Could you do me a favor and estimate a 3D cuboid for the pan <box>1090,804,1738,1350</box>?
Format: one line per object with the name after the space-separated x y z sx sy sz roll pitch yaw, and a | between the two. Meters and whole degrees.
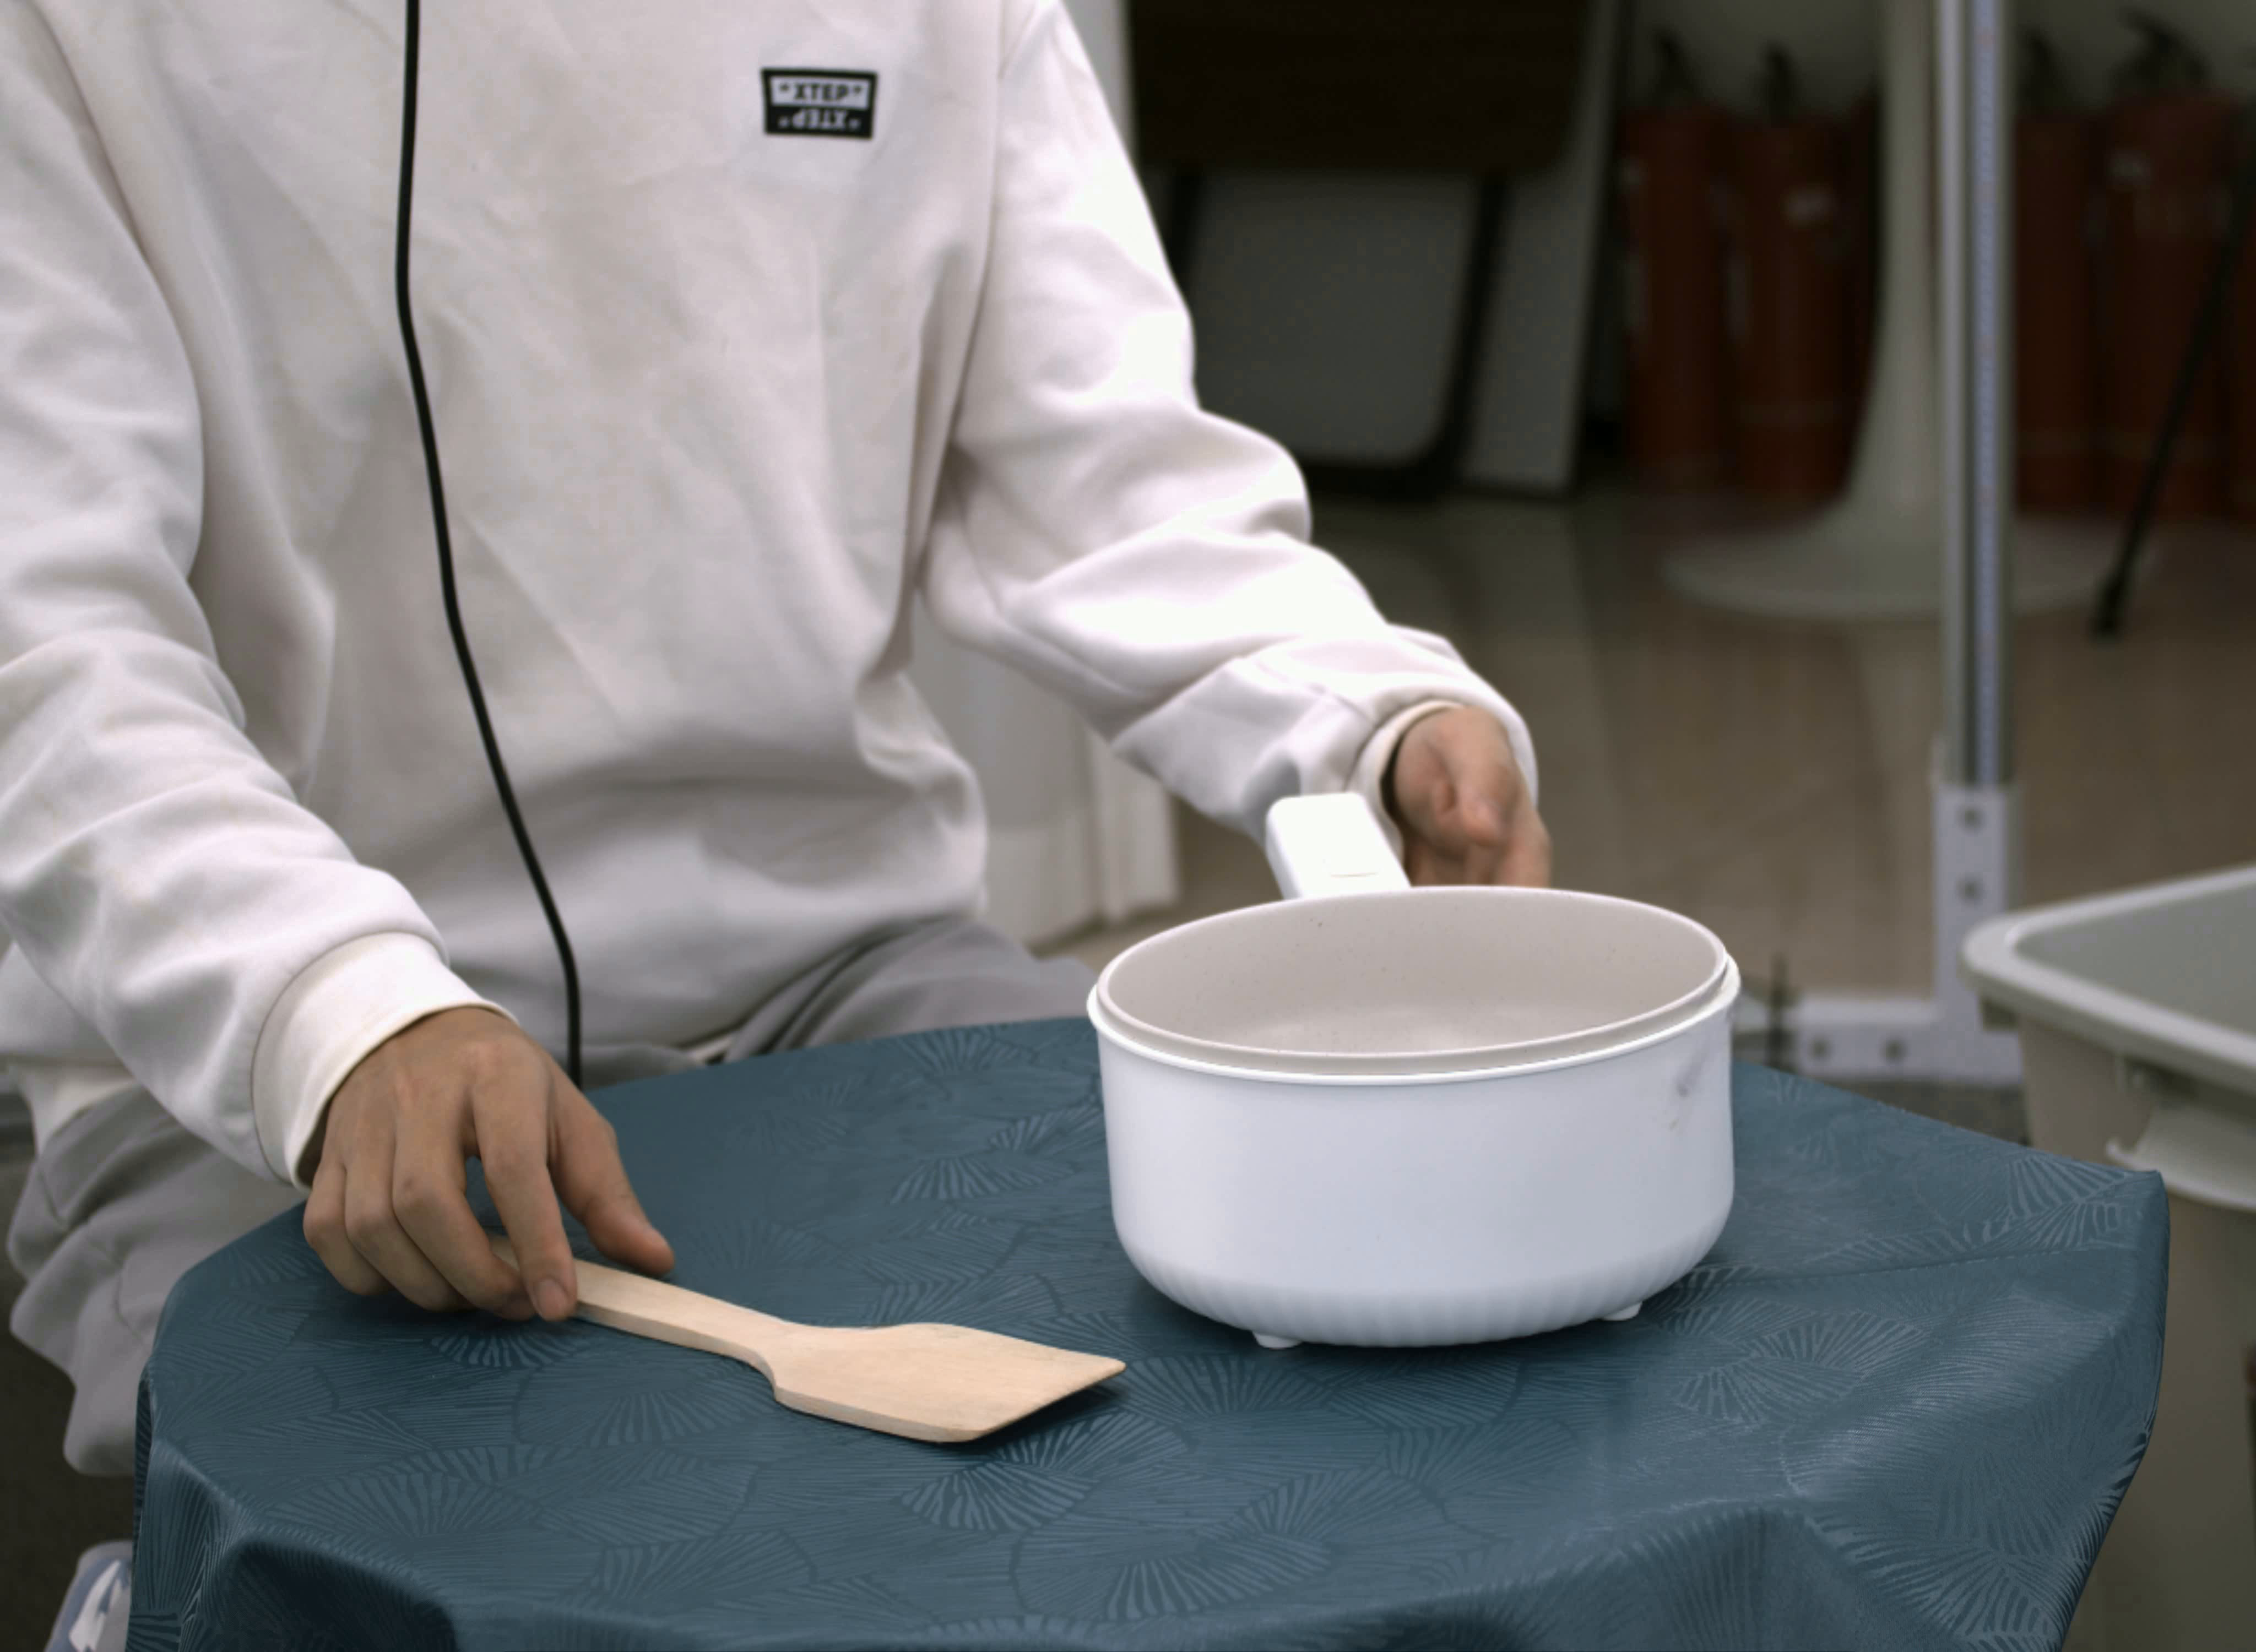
0.085 0.076 1.734 0.198 0.103 0.356 -5 12 -3 | pan

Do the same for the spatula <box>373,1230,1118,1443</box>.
-0.131 0.154 1.660 0.295 0.011 0.071 8 19 42 | spatula
